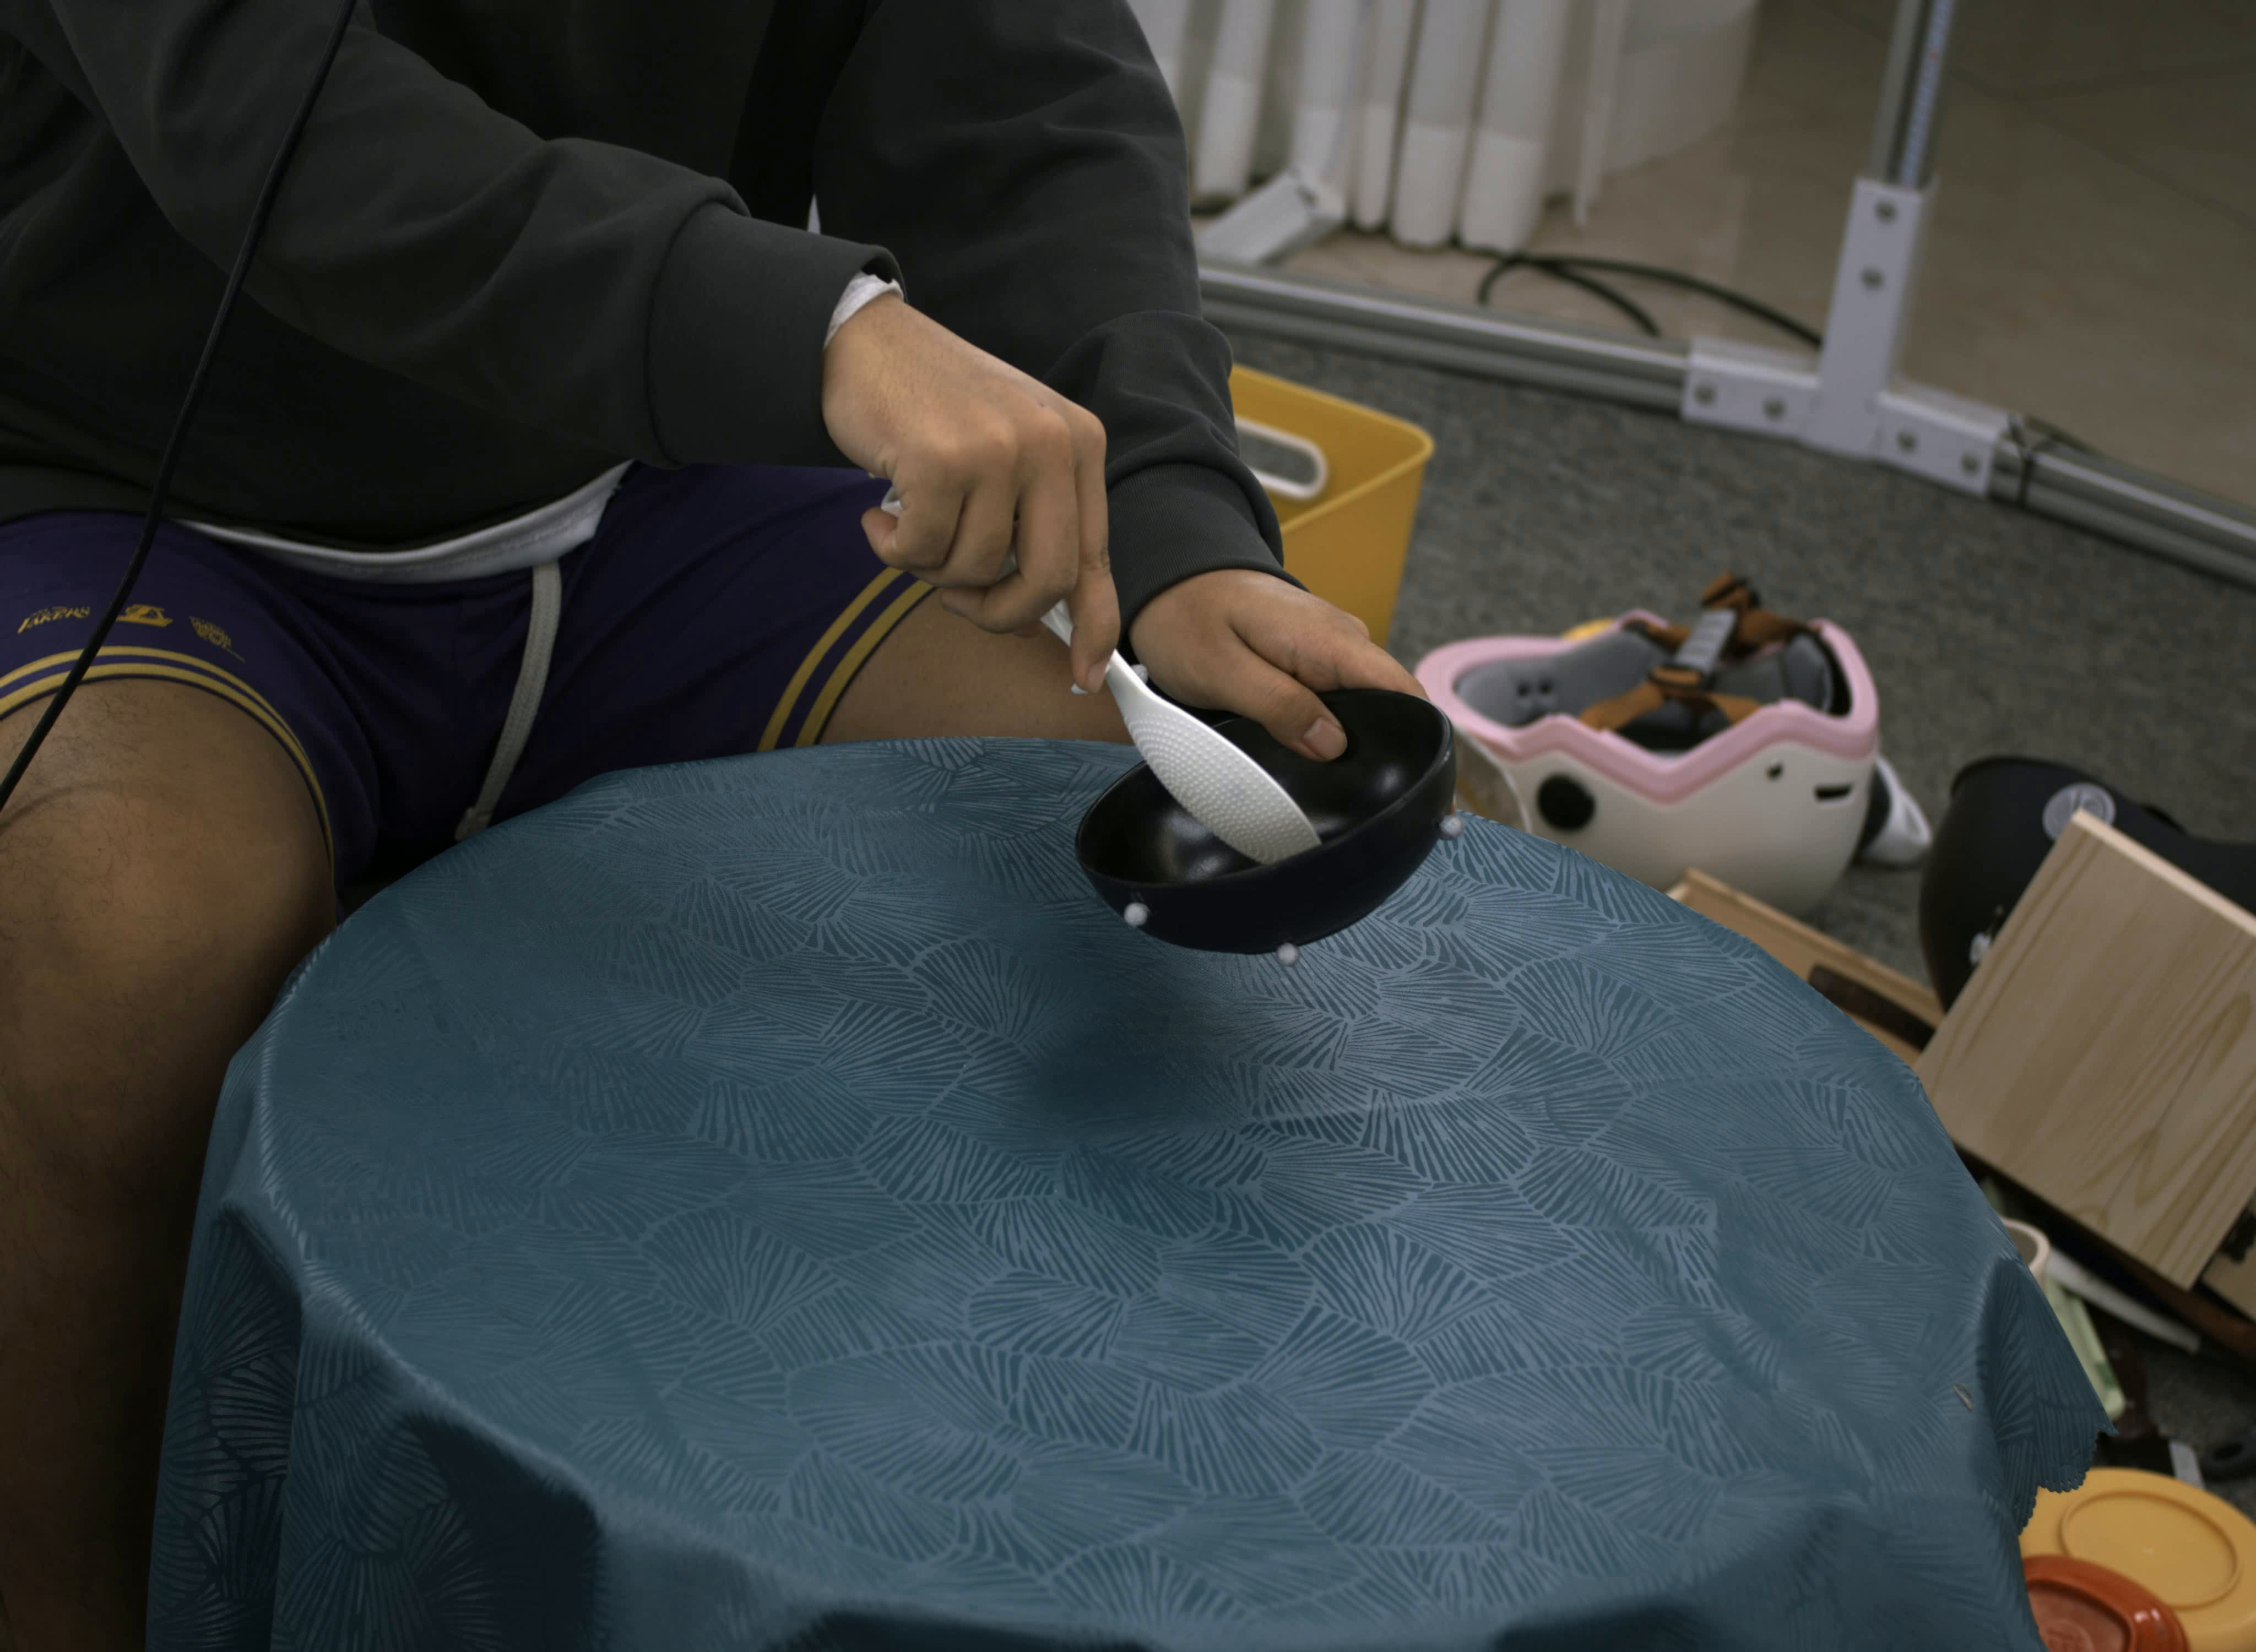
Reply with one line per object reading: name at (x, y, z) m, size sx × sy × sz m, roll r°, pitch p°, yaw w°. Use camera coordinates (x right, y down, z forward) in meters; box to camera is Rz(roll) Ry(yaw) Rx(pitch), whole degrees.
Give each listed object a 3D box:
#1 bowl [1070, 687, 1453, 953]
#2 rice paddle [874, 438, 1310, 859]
bowl at (0.053, 0.006, 1.857) m, size 0.140 × 0.049 × 0.141 m, roll -18°, pitch 22°, yaw 7°
rice paddle at (-0.006, -0.053, 1.835) m, size 0.029 × 0.204 × 0.069 m, roll -51°, pitch 18°, yaw -18°
